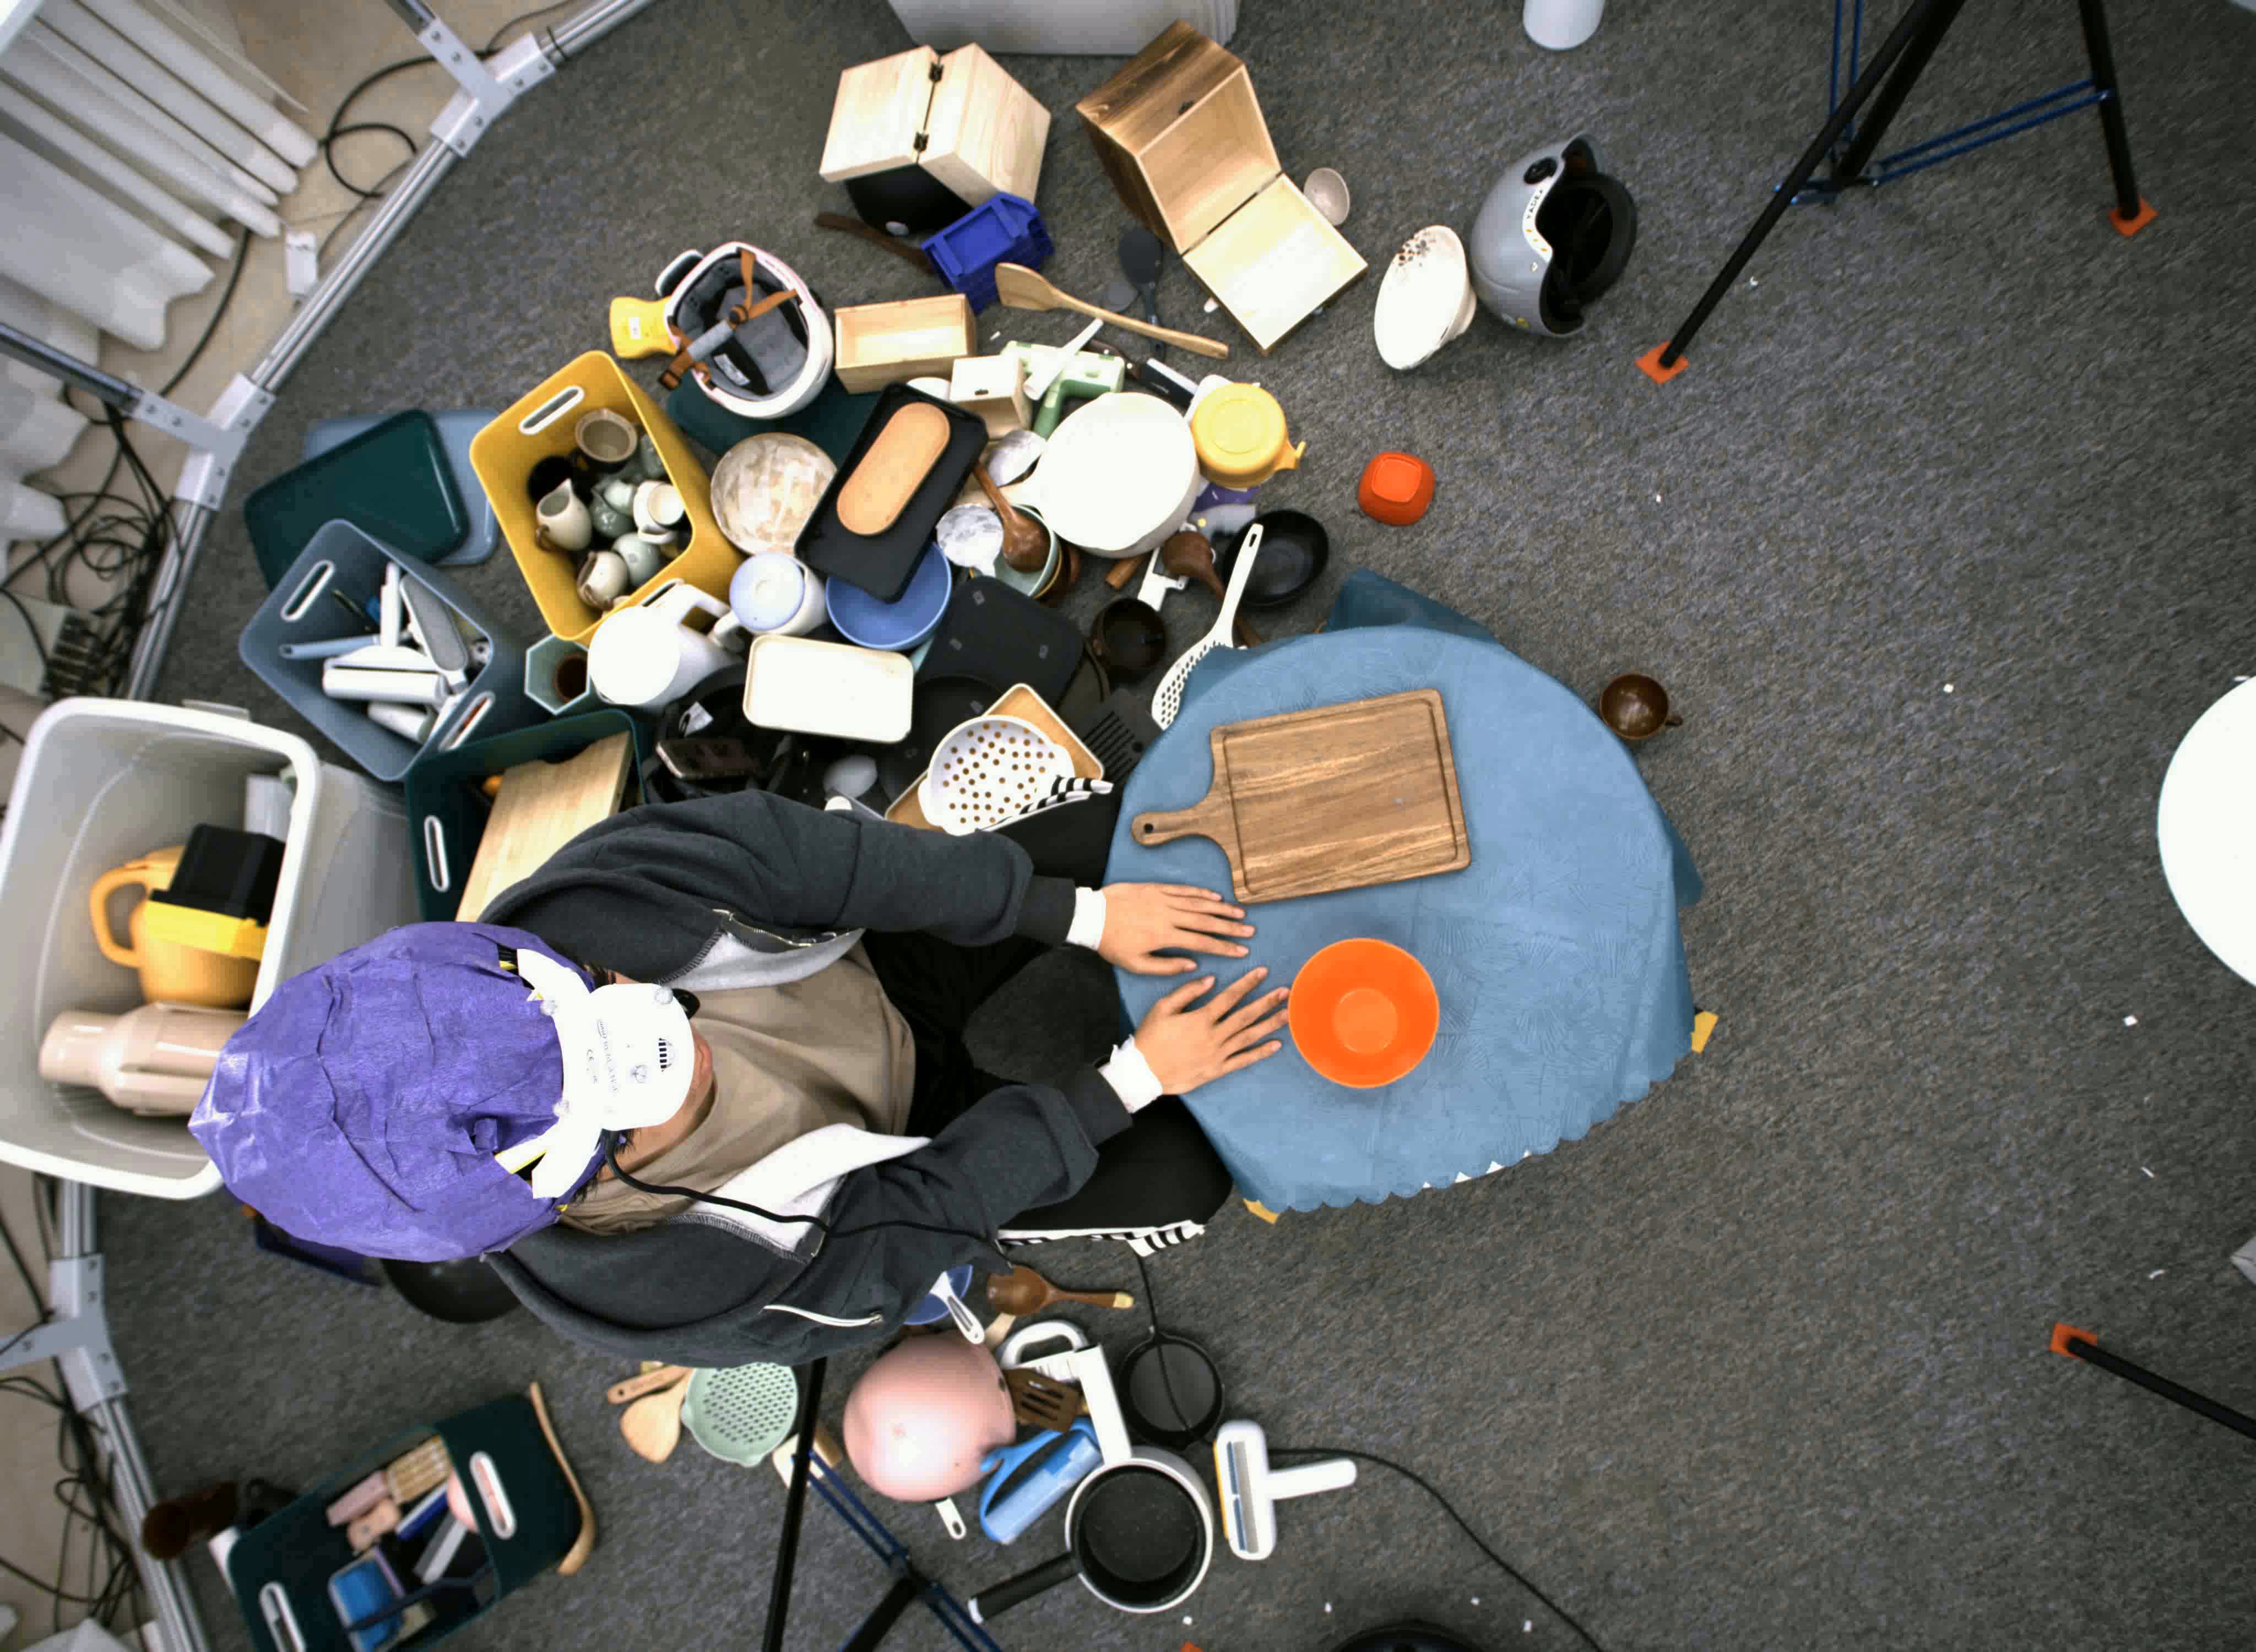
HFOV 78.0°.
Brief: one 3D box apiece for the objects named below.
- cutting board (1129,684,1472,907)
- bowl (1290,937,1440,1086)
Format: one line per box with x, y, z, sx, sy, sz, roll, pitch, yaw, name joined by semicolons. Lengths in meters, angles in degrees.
0.173;-0.024;1.472;0.354;0.023;0.200;-10;85;10;cutting board
0.241;0.187;1.408;0.148;0.105;0.147;-1;86;11;bowl
